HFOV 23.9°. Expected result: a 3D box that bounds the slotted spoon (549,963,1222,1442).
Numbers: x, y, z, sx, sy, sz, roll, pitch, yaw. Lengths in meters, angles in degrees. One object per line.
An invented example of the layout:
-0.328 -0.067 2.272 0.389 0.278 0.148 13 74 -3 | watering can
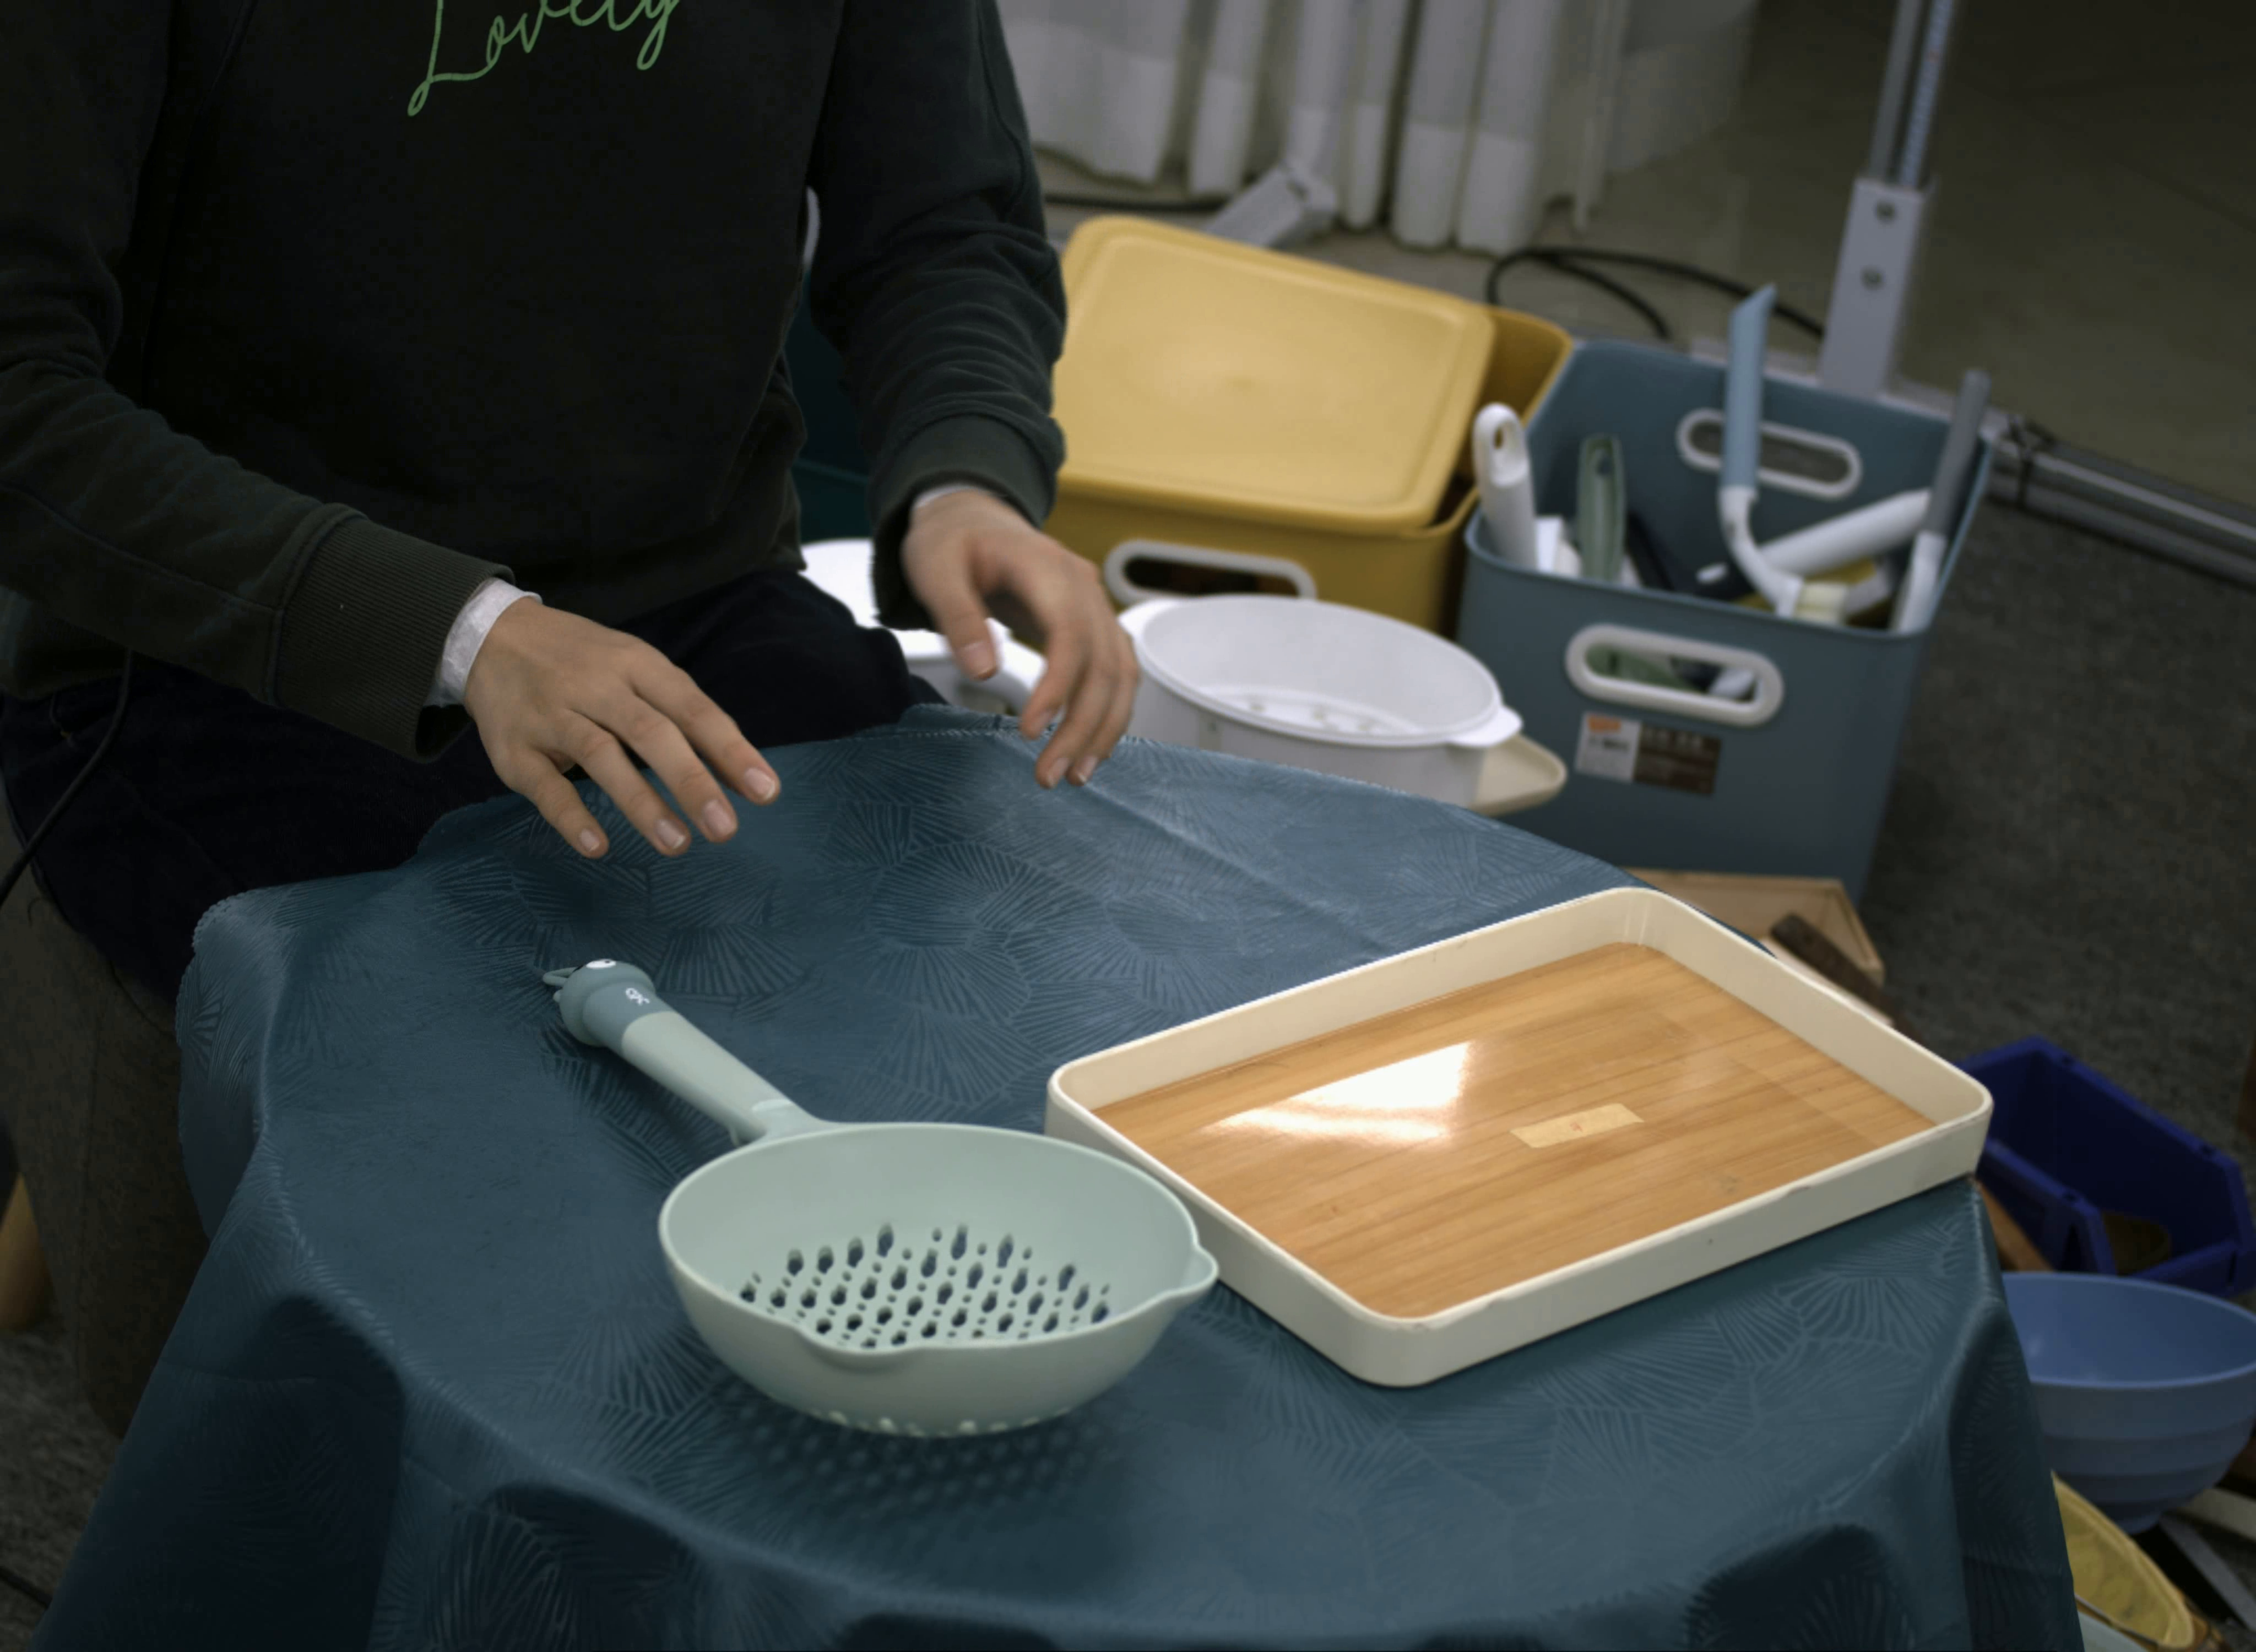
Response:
-0.111 0.107 1.737 0.168 0.075 0.362 -8 30 -29 | slotted spoon

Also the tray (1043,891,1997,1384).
0.137 0.102 1.844 0.298 0.027 0.193 -15 34 -37 | tray
